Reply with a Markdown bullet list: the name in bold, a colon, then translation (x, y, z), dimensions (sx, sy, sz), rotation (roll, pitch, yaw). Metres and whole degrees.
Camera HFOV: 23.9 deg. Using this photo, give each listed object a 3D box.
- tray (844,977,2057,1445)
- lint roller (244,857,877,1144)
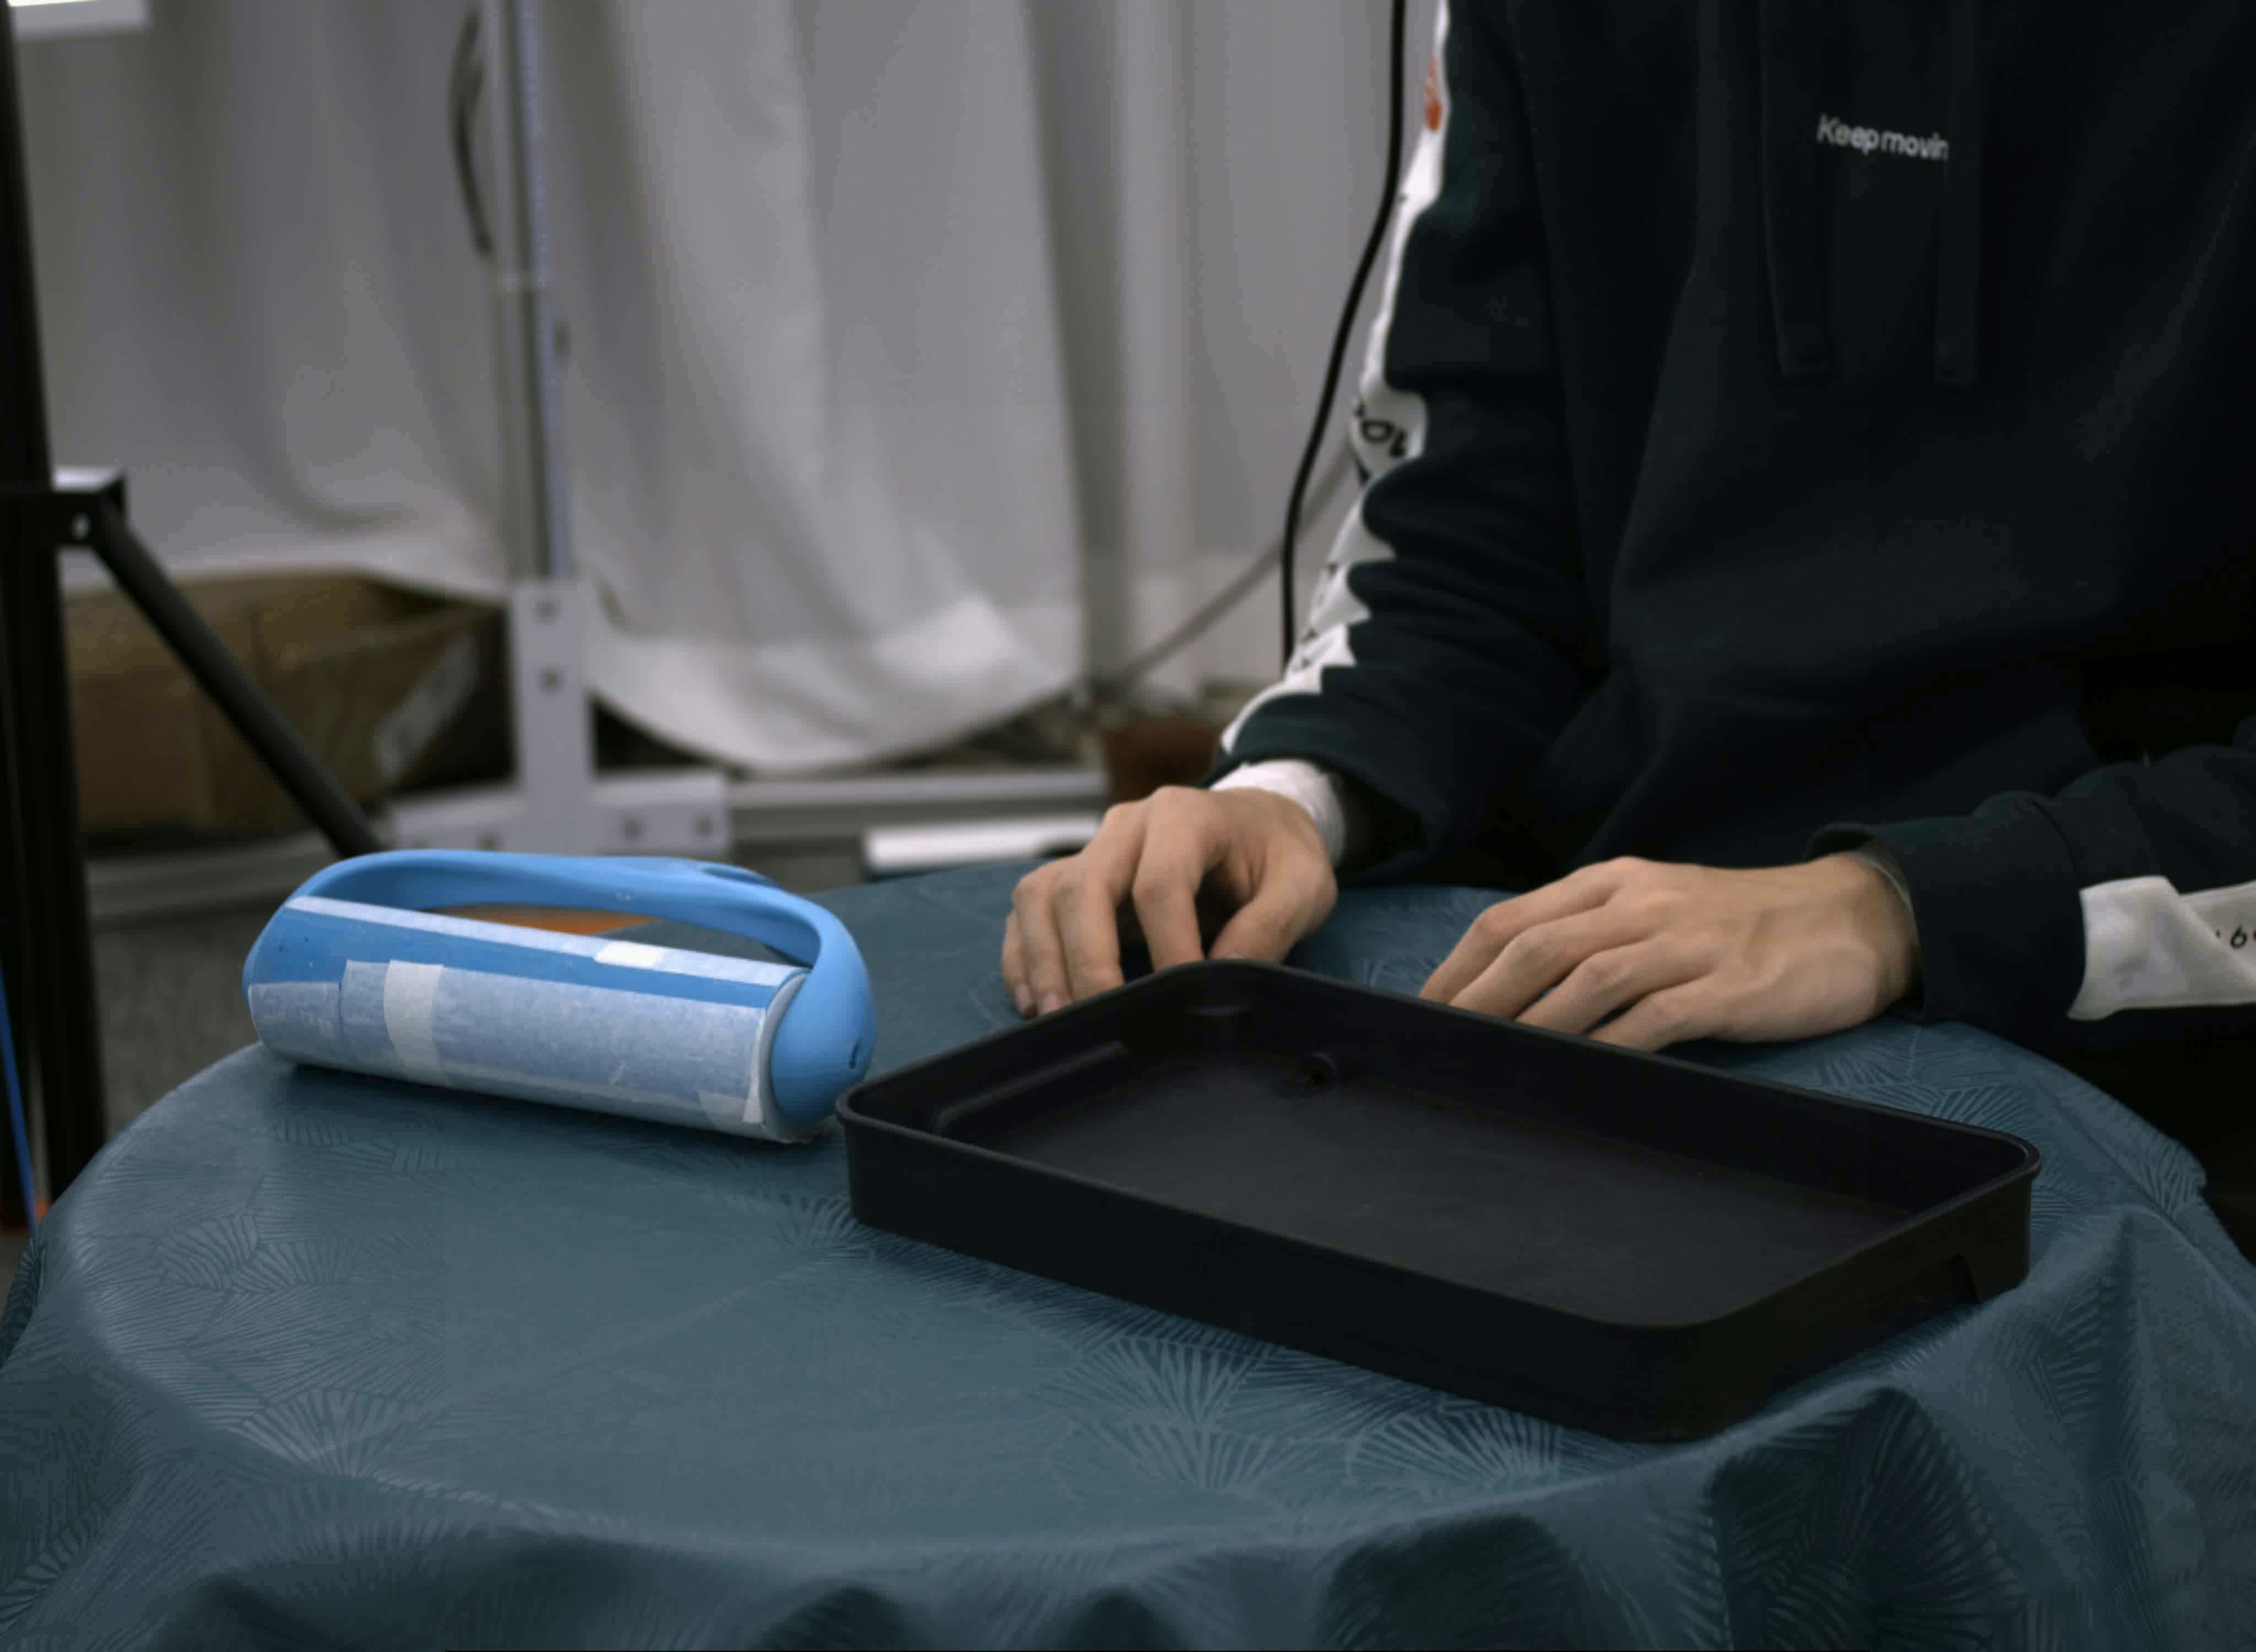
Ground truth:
- **tray**: translation (0.088, 0.103, 1.498), dimensions (0.325, 0.037, 0.180), rotation (10, 20, 42)
- **lint roller**: translation (-0.153, 0.043, 1.710), dimensions (0.233, 0.068, 0.177), rotation (4, 19, 29)
